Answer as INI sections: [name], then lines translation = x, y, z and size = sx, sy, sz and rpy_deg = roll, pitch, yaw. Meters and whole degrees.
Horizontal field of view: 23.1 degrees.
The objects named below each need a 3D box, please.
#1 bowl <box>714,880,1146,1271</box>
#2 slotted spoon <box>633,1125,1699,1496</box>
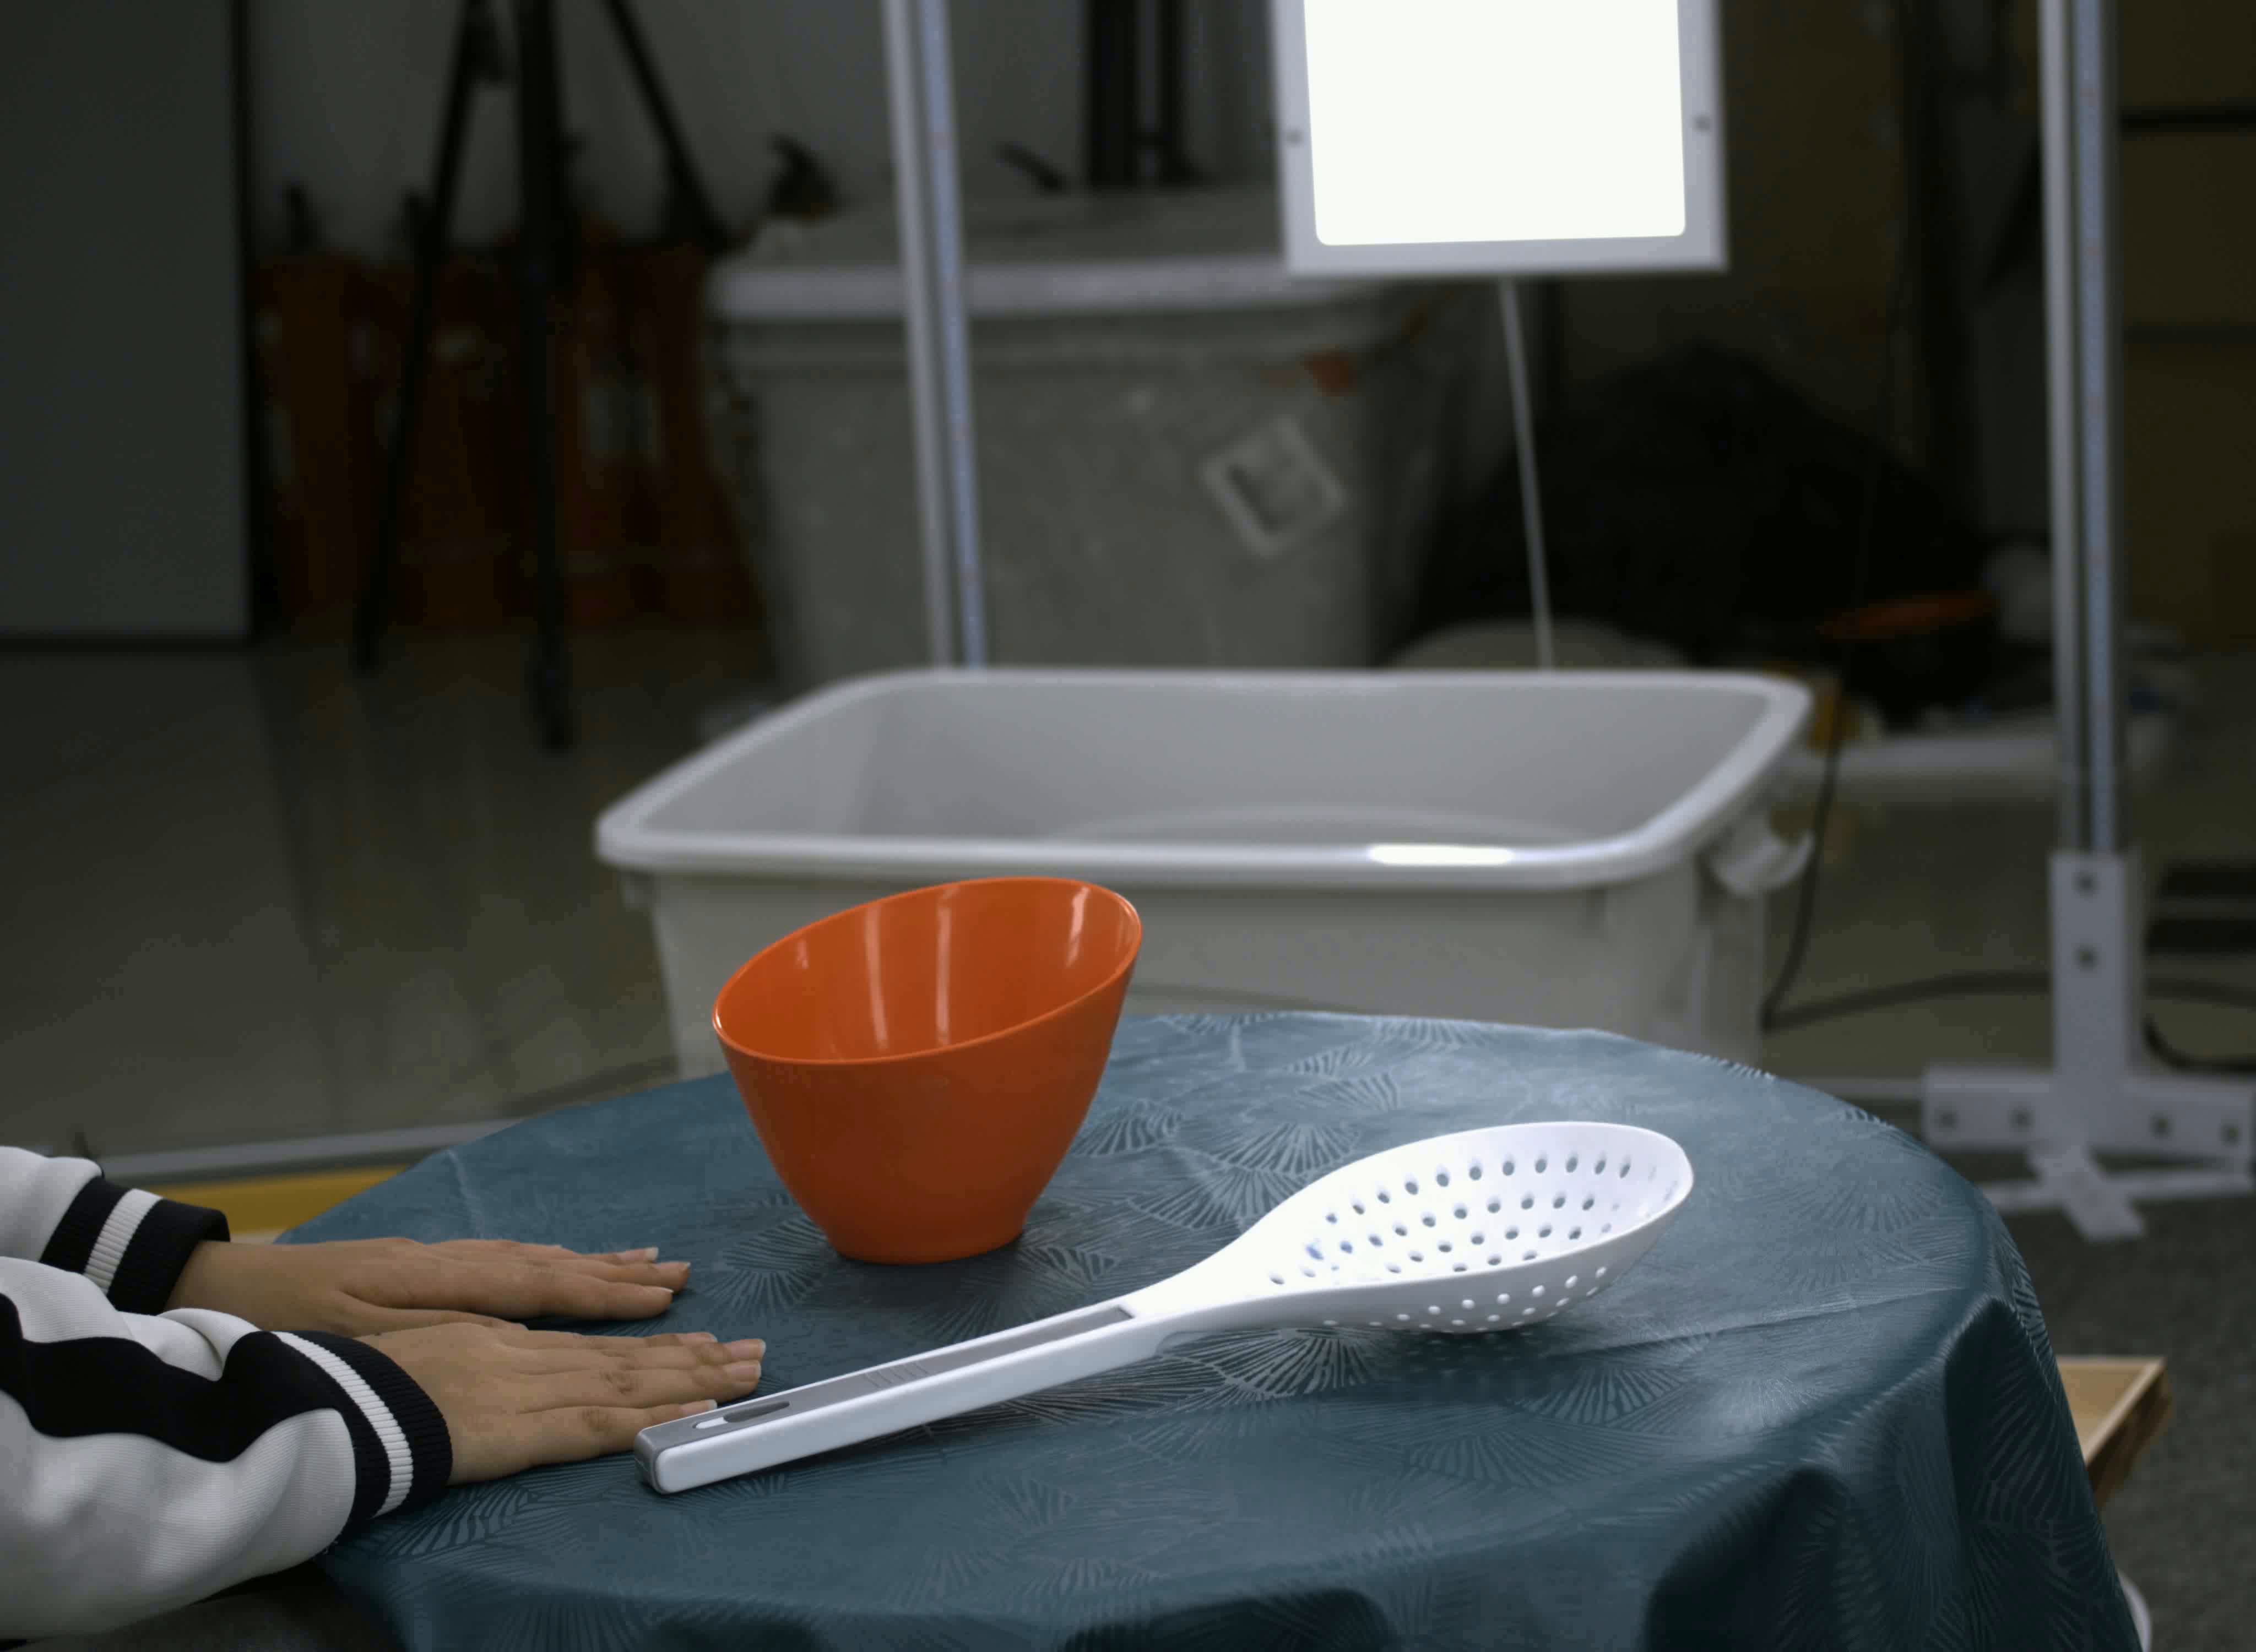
[bowl]
translation = -0.064, 0.088, 1.867
size = 0.147, 0.105, 0.148
rpy_deg = -4, 16, 0
[slotted spoon]
translation = 0.015, 0.150, 1.701
size = 0.344, 0.046, 0.138
rpy_deg = -10, 13, -17
